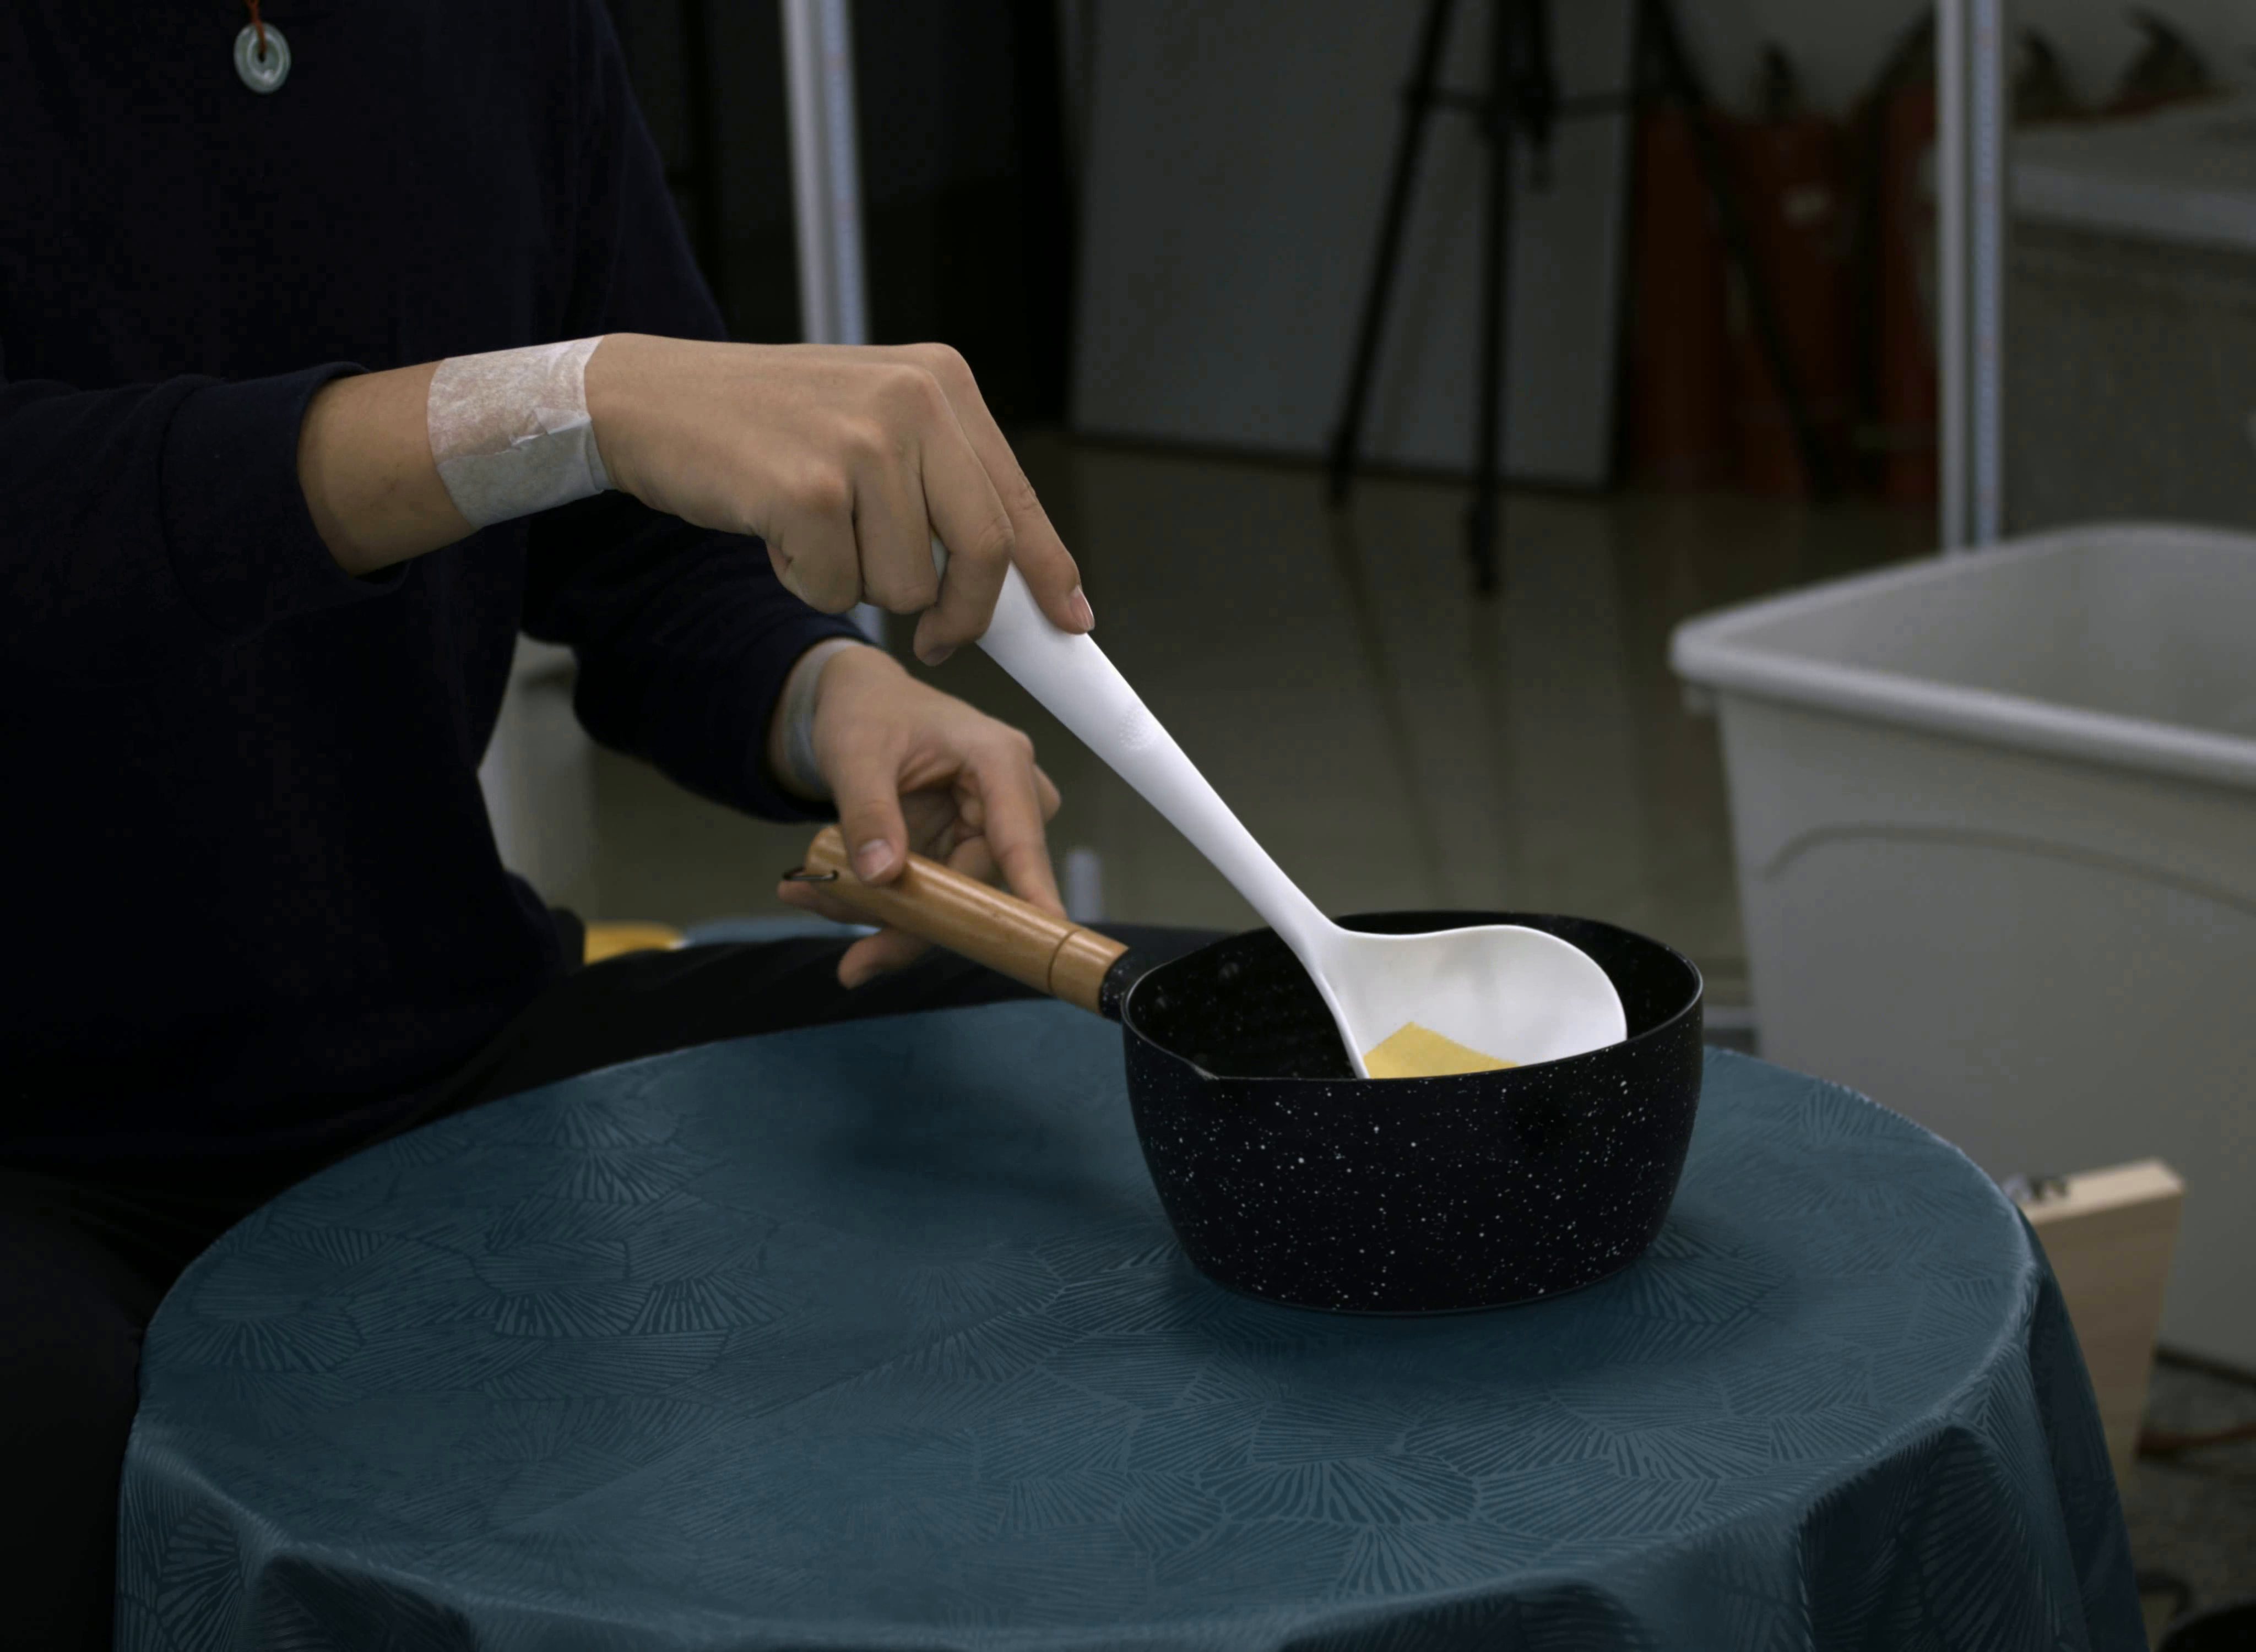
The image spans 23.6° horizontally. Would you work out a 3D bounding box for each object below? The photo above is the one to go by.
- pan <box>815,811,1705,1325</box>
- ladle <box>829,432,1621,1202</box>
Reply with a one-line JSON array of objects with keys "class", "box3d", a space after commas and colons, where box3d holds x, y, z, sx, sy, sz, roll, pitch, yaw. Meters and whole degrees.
[{"class": "pan", "box3d": [0.029, 0.070, 1.740, 0.345, 0.109, 0.203, 9, 20, 39]}, {"class": "ladle", "box3d": [0.028, -0.006, 1.597, 0.090, 0.291, 0.070, -51, 20, -21]}]
